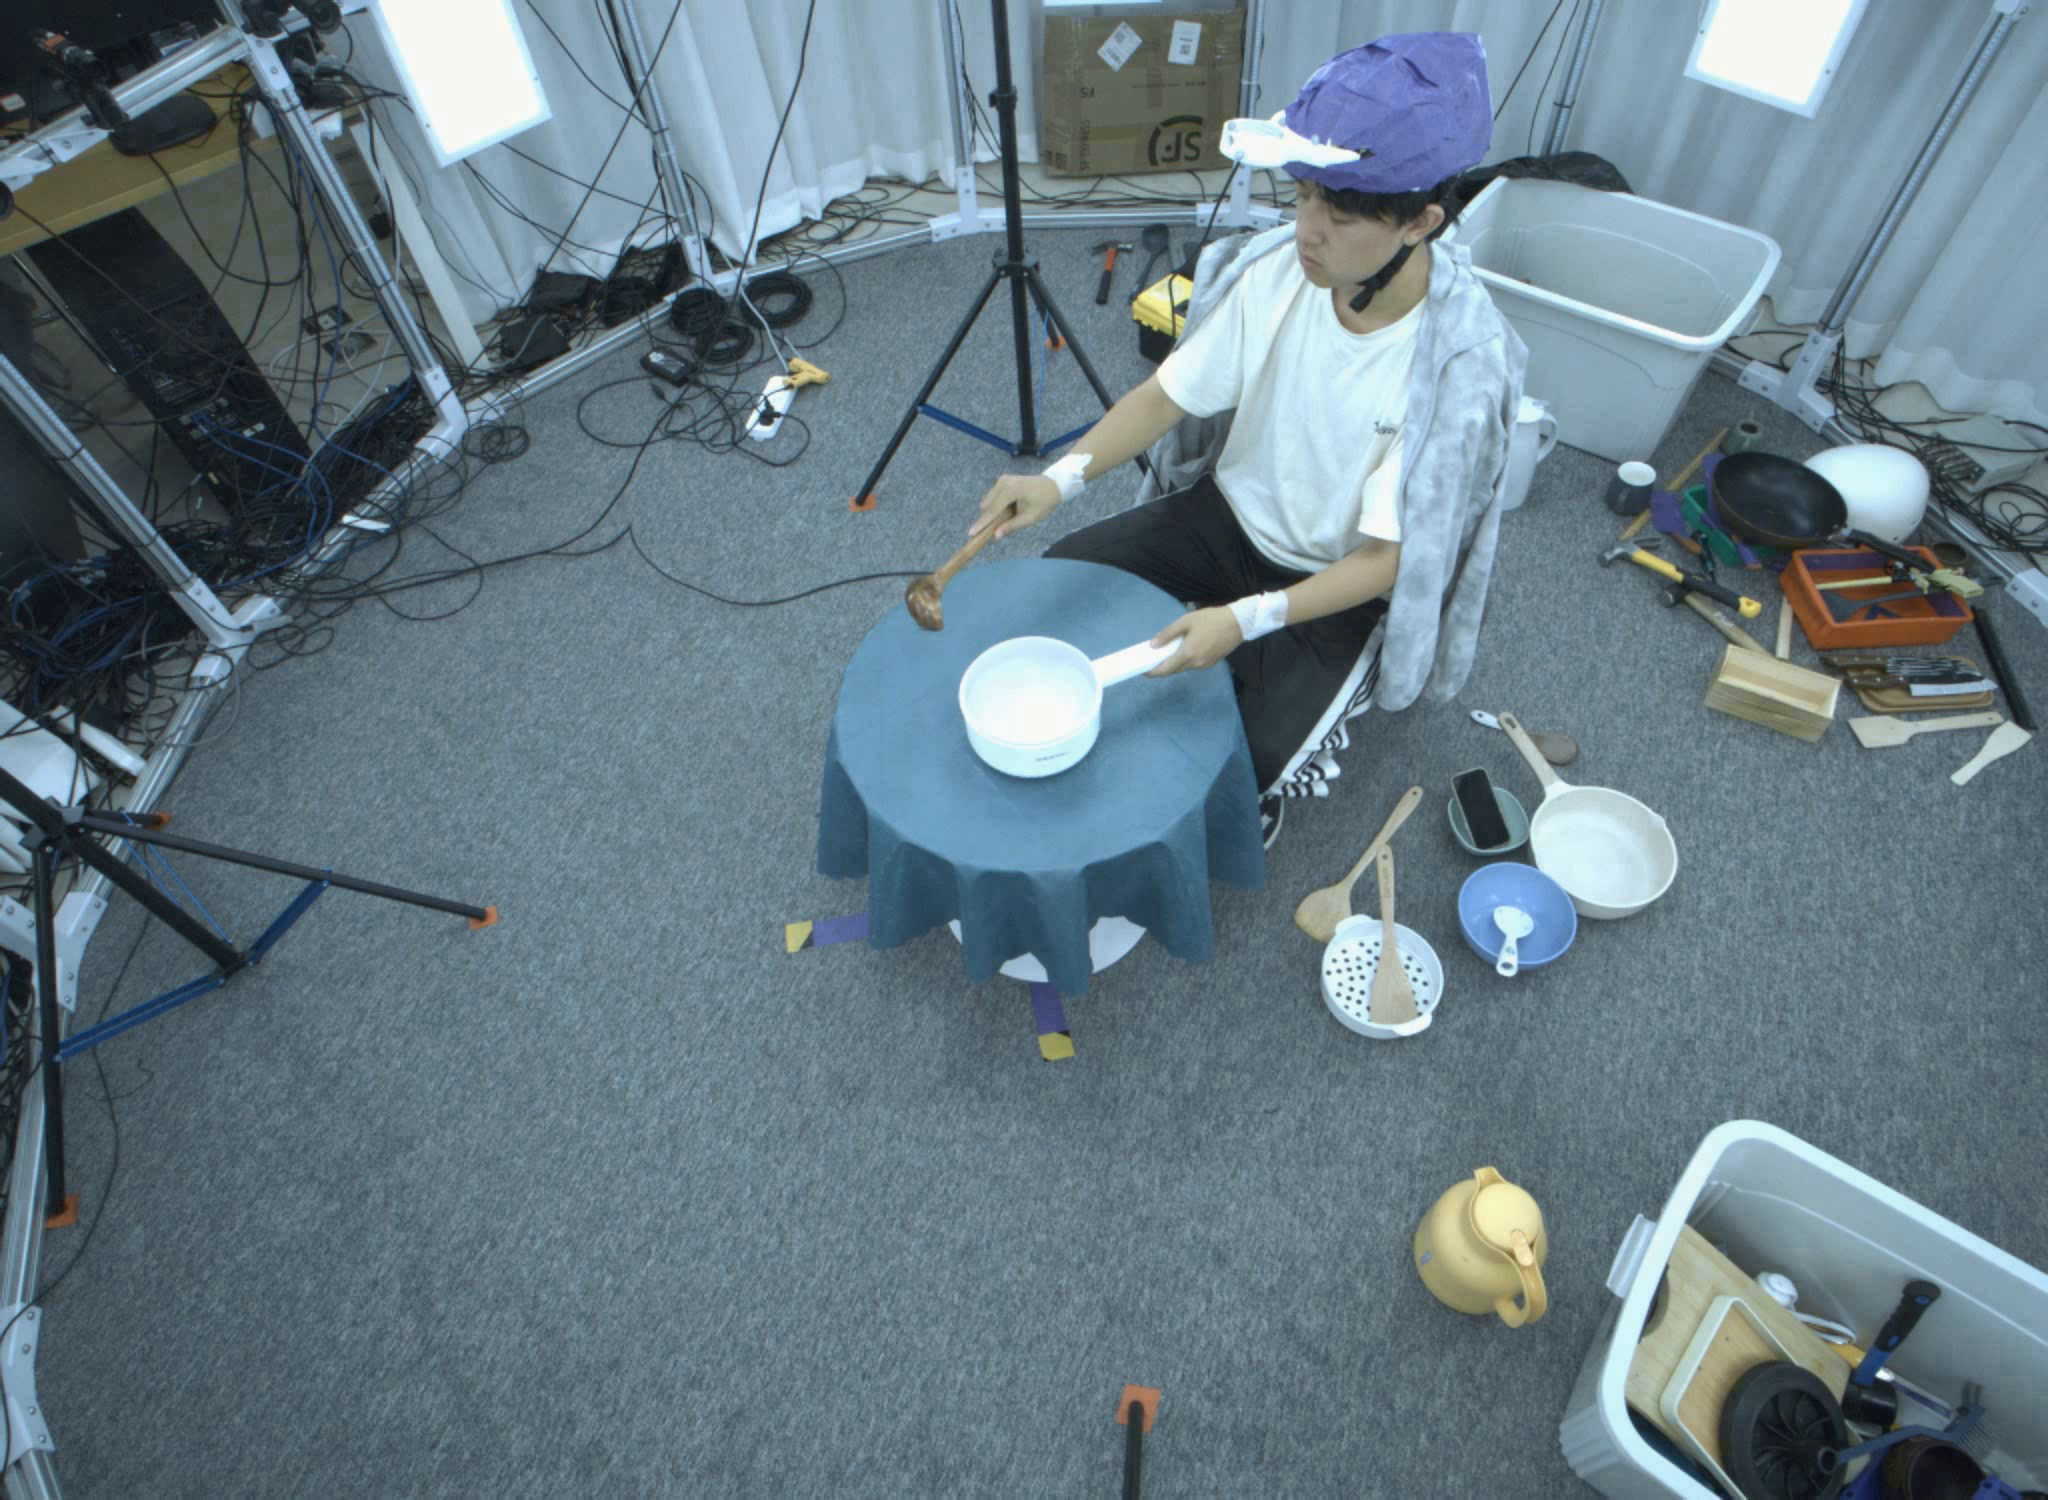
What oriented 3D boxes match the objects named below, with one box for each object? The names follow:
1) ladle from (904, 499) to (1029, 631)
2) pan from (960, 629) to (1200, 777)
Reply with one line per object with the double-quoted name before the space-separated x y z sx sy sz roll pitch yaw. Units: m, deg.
"ladle" -0.071 -0.274 1.744 0.275 0.083 0.075 -46 35 -21
"pan" 0.084 -0.082 1.784 0.357 0.103 0.197 -19 56 -12
